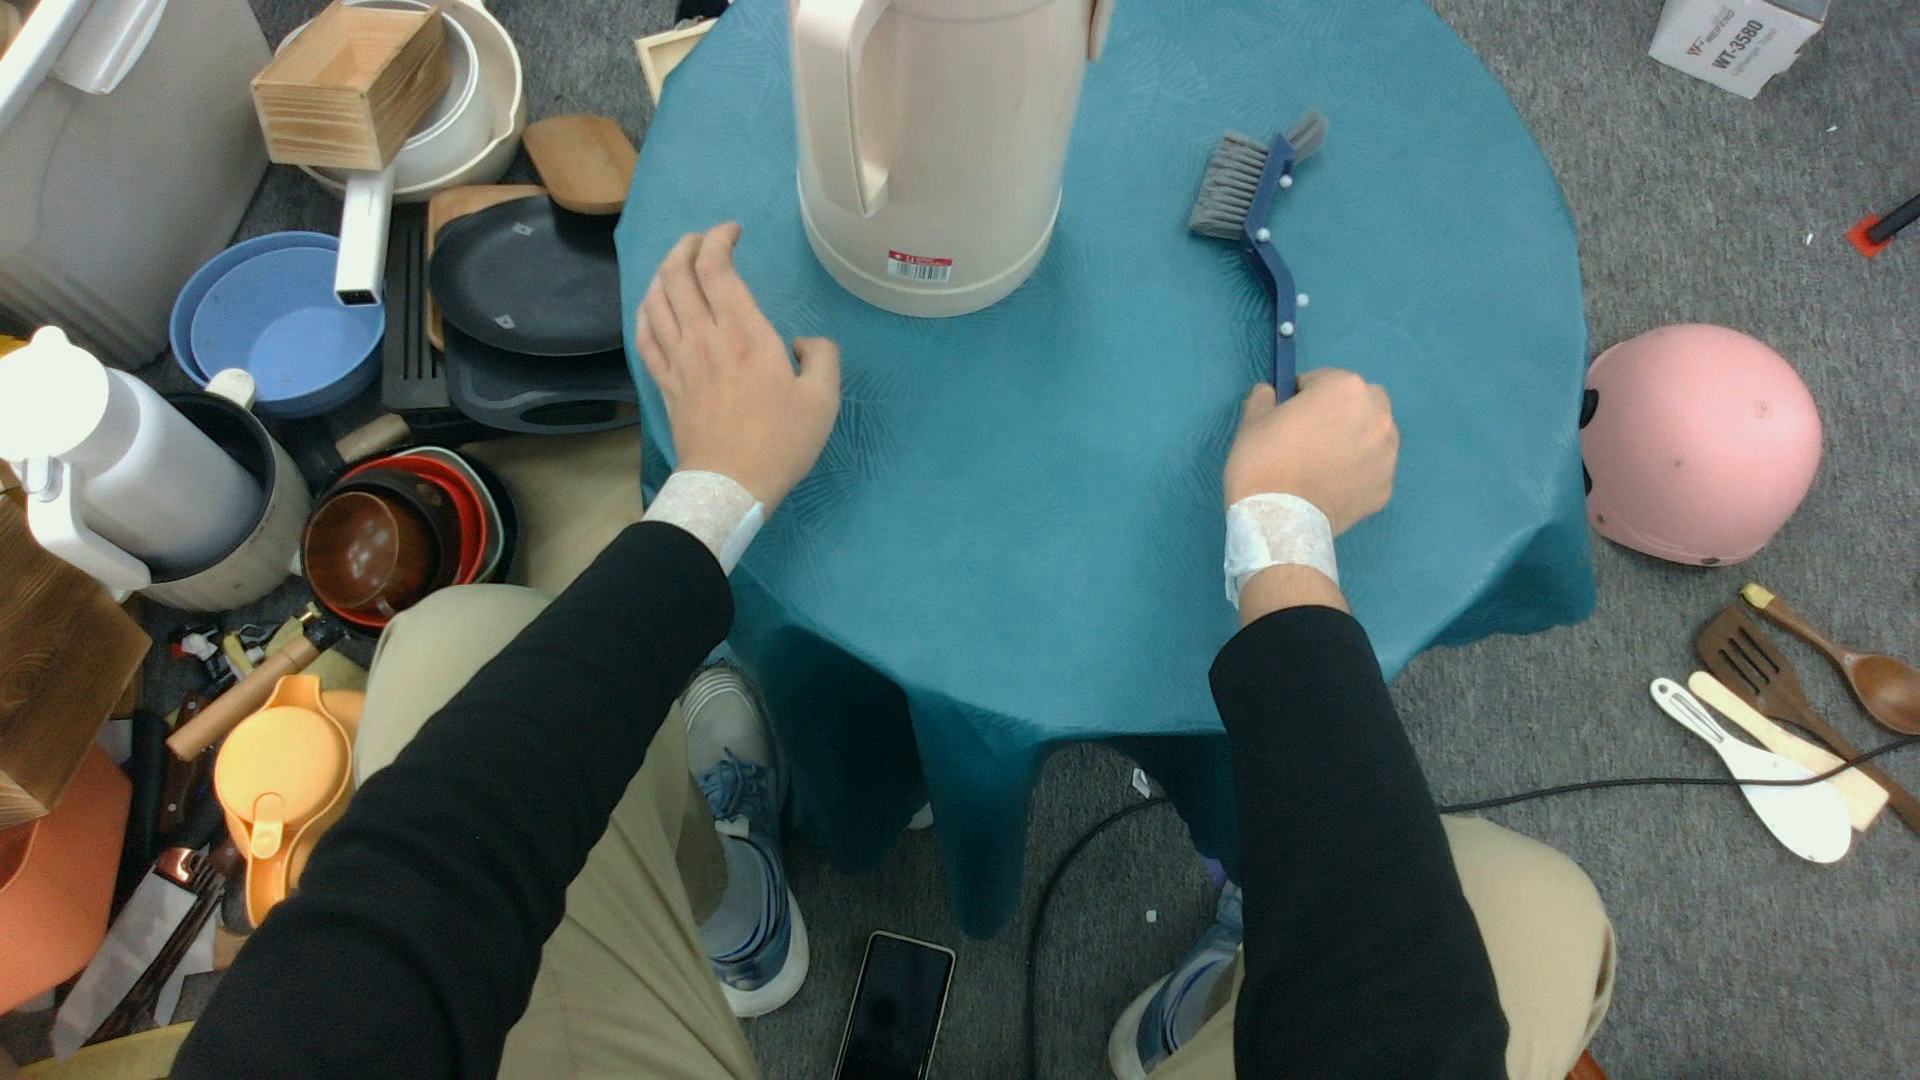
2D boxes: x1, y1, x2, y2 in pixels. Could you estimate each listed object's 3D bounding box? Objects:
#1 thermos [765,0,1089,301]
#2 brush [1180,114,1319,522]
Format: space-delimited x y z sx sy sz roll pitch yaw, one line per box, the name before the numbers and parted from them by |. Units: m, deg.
thermos | -0.026 -0.269 0.665 0.175 0.405 0.208 27 71 3
brush | 0.190 -0.142 0.829 0.096 0.033 0.274 -3 68 -2
